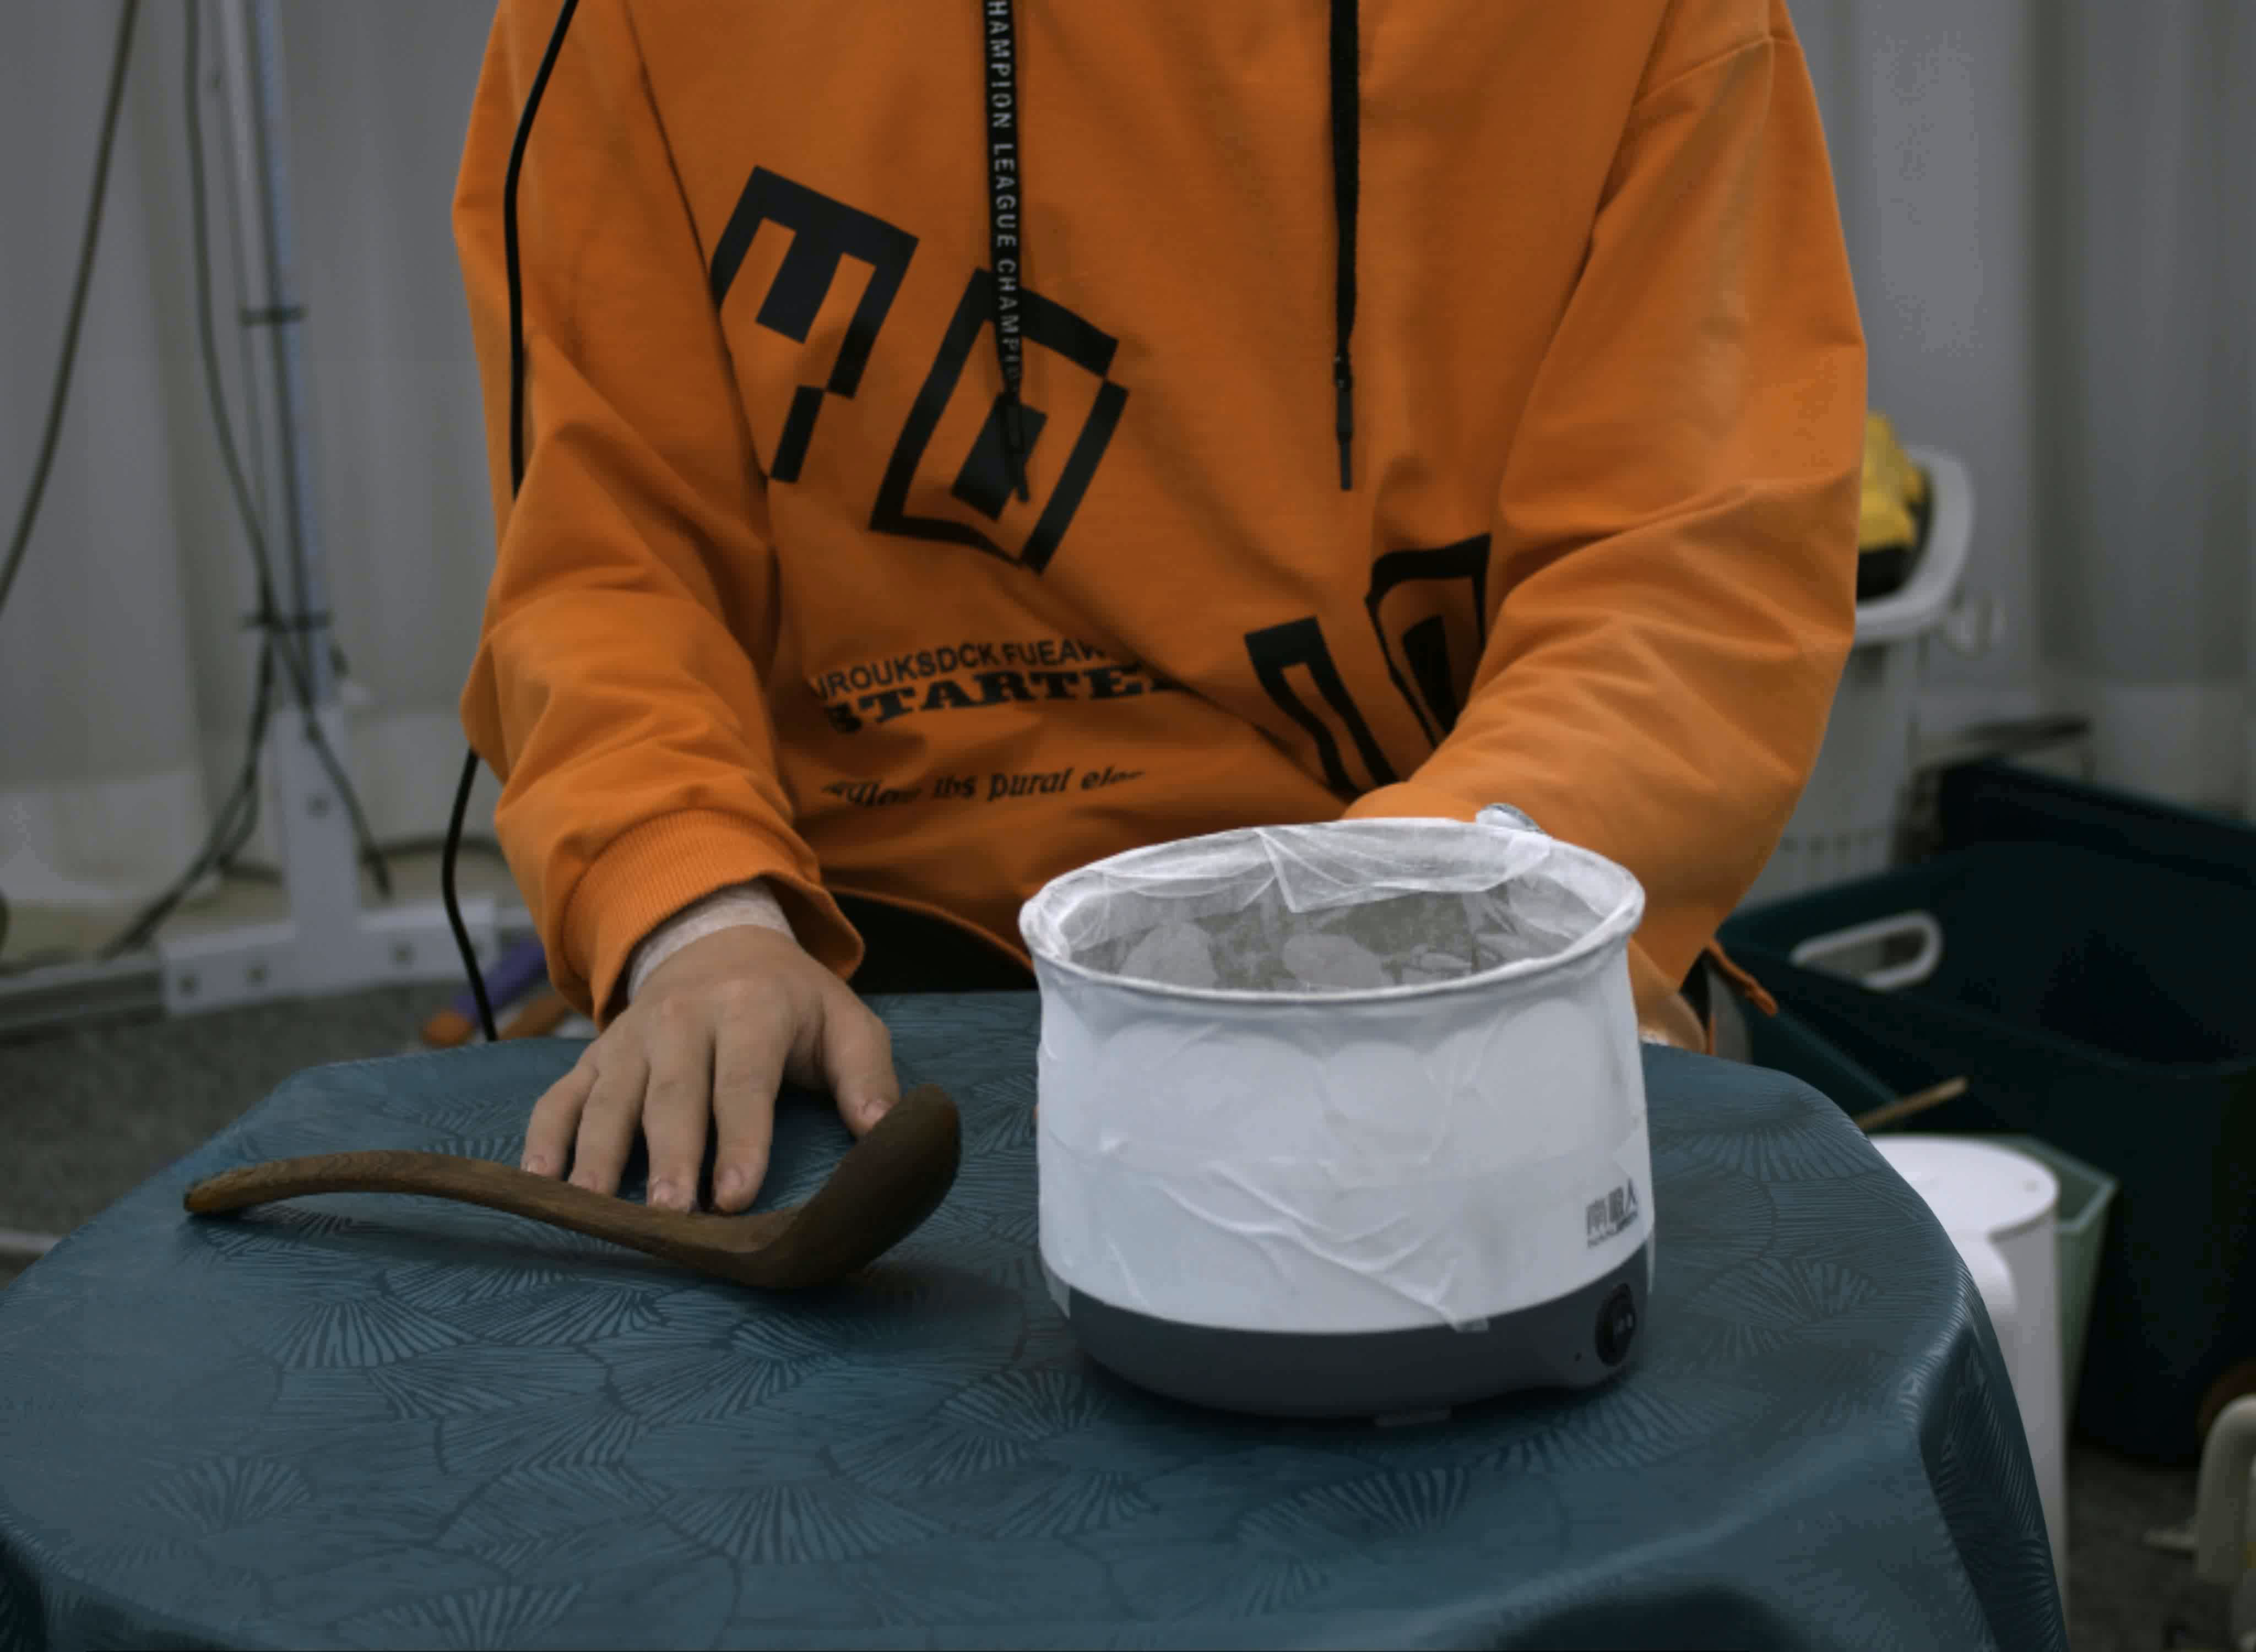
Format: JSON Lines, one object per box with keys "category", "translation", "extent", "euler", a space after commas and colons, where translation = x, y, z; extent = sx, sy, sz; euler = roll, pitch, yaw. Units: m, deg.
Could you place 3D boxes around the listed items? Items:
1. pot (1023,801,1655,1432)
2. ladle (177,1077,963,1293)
{"category": "pot", "translation": [0.075, 0.076, 1.580], "extent": [0.179, 0.136, 0.234], "euler": [6, 18, 31]}
{"category": "ladle", "translation": [-0.176, 0.099, 1.677], "extent": [0.274, 0.071, 0.076], "euler": [6, 14, 27]}
